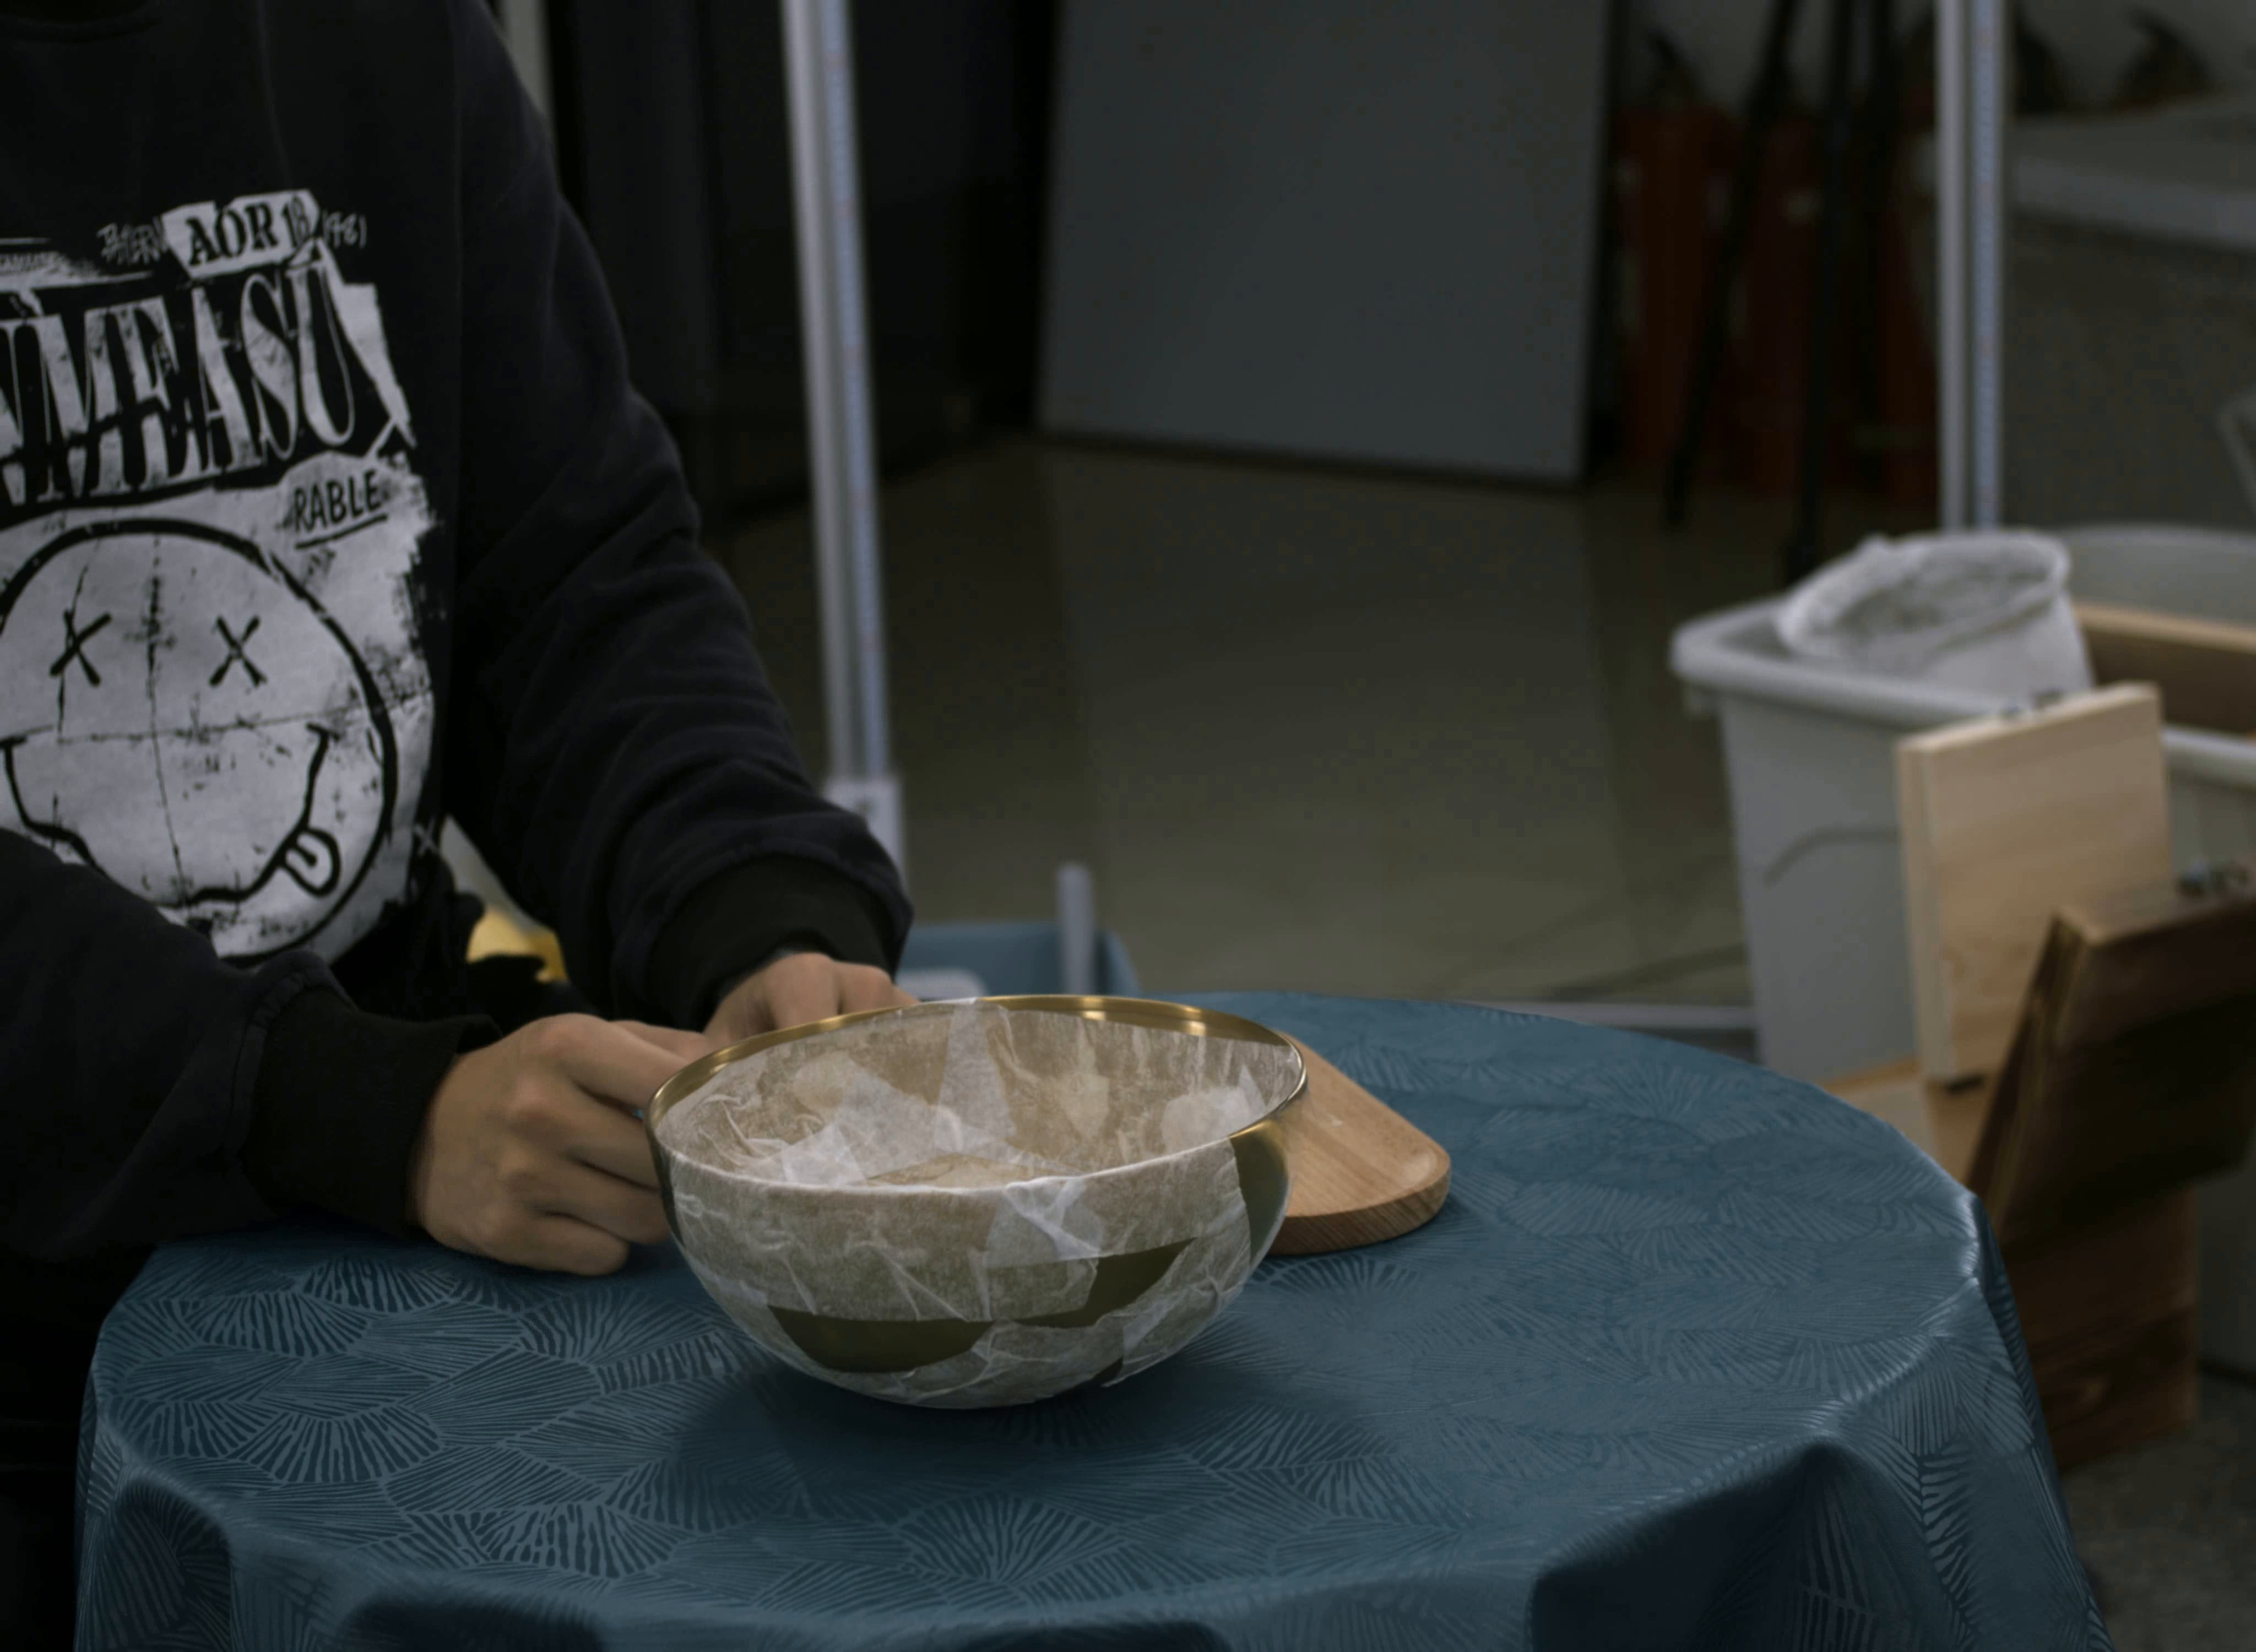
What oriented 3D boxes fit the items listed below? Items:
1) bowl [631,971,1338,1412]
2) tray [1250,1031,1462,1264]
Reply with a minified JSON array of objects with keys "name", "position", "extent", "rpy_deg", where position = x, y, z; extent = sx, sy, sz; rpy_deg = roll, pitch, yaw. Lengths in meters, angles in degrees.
[{"name":"bowl","position":[-0.039,0.117,1.602],"extent":[0.212,0.095,0.215],"rpy_deg":[-6,14,1]},{"name":"tray","position":[0.036,0.104,1.797],"extent":[0.100,0.020,0.233],"rpy_deg":[-11,17,-17]}]
